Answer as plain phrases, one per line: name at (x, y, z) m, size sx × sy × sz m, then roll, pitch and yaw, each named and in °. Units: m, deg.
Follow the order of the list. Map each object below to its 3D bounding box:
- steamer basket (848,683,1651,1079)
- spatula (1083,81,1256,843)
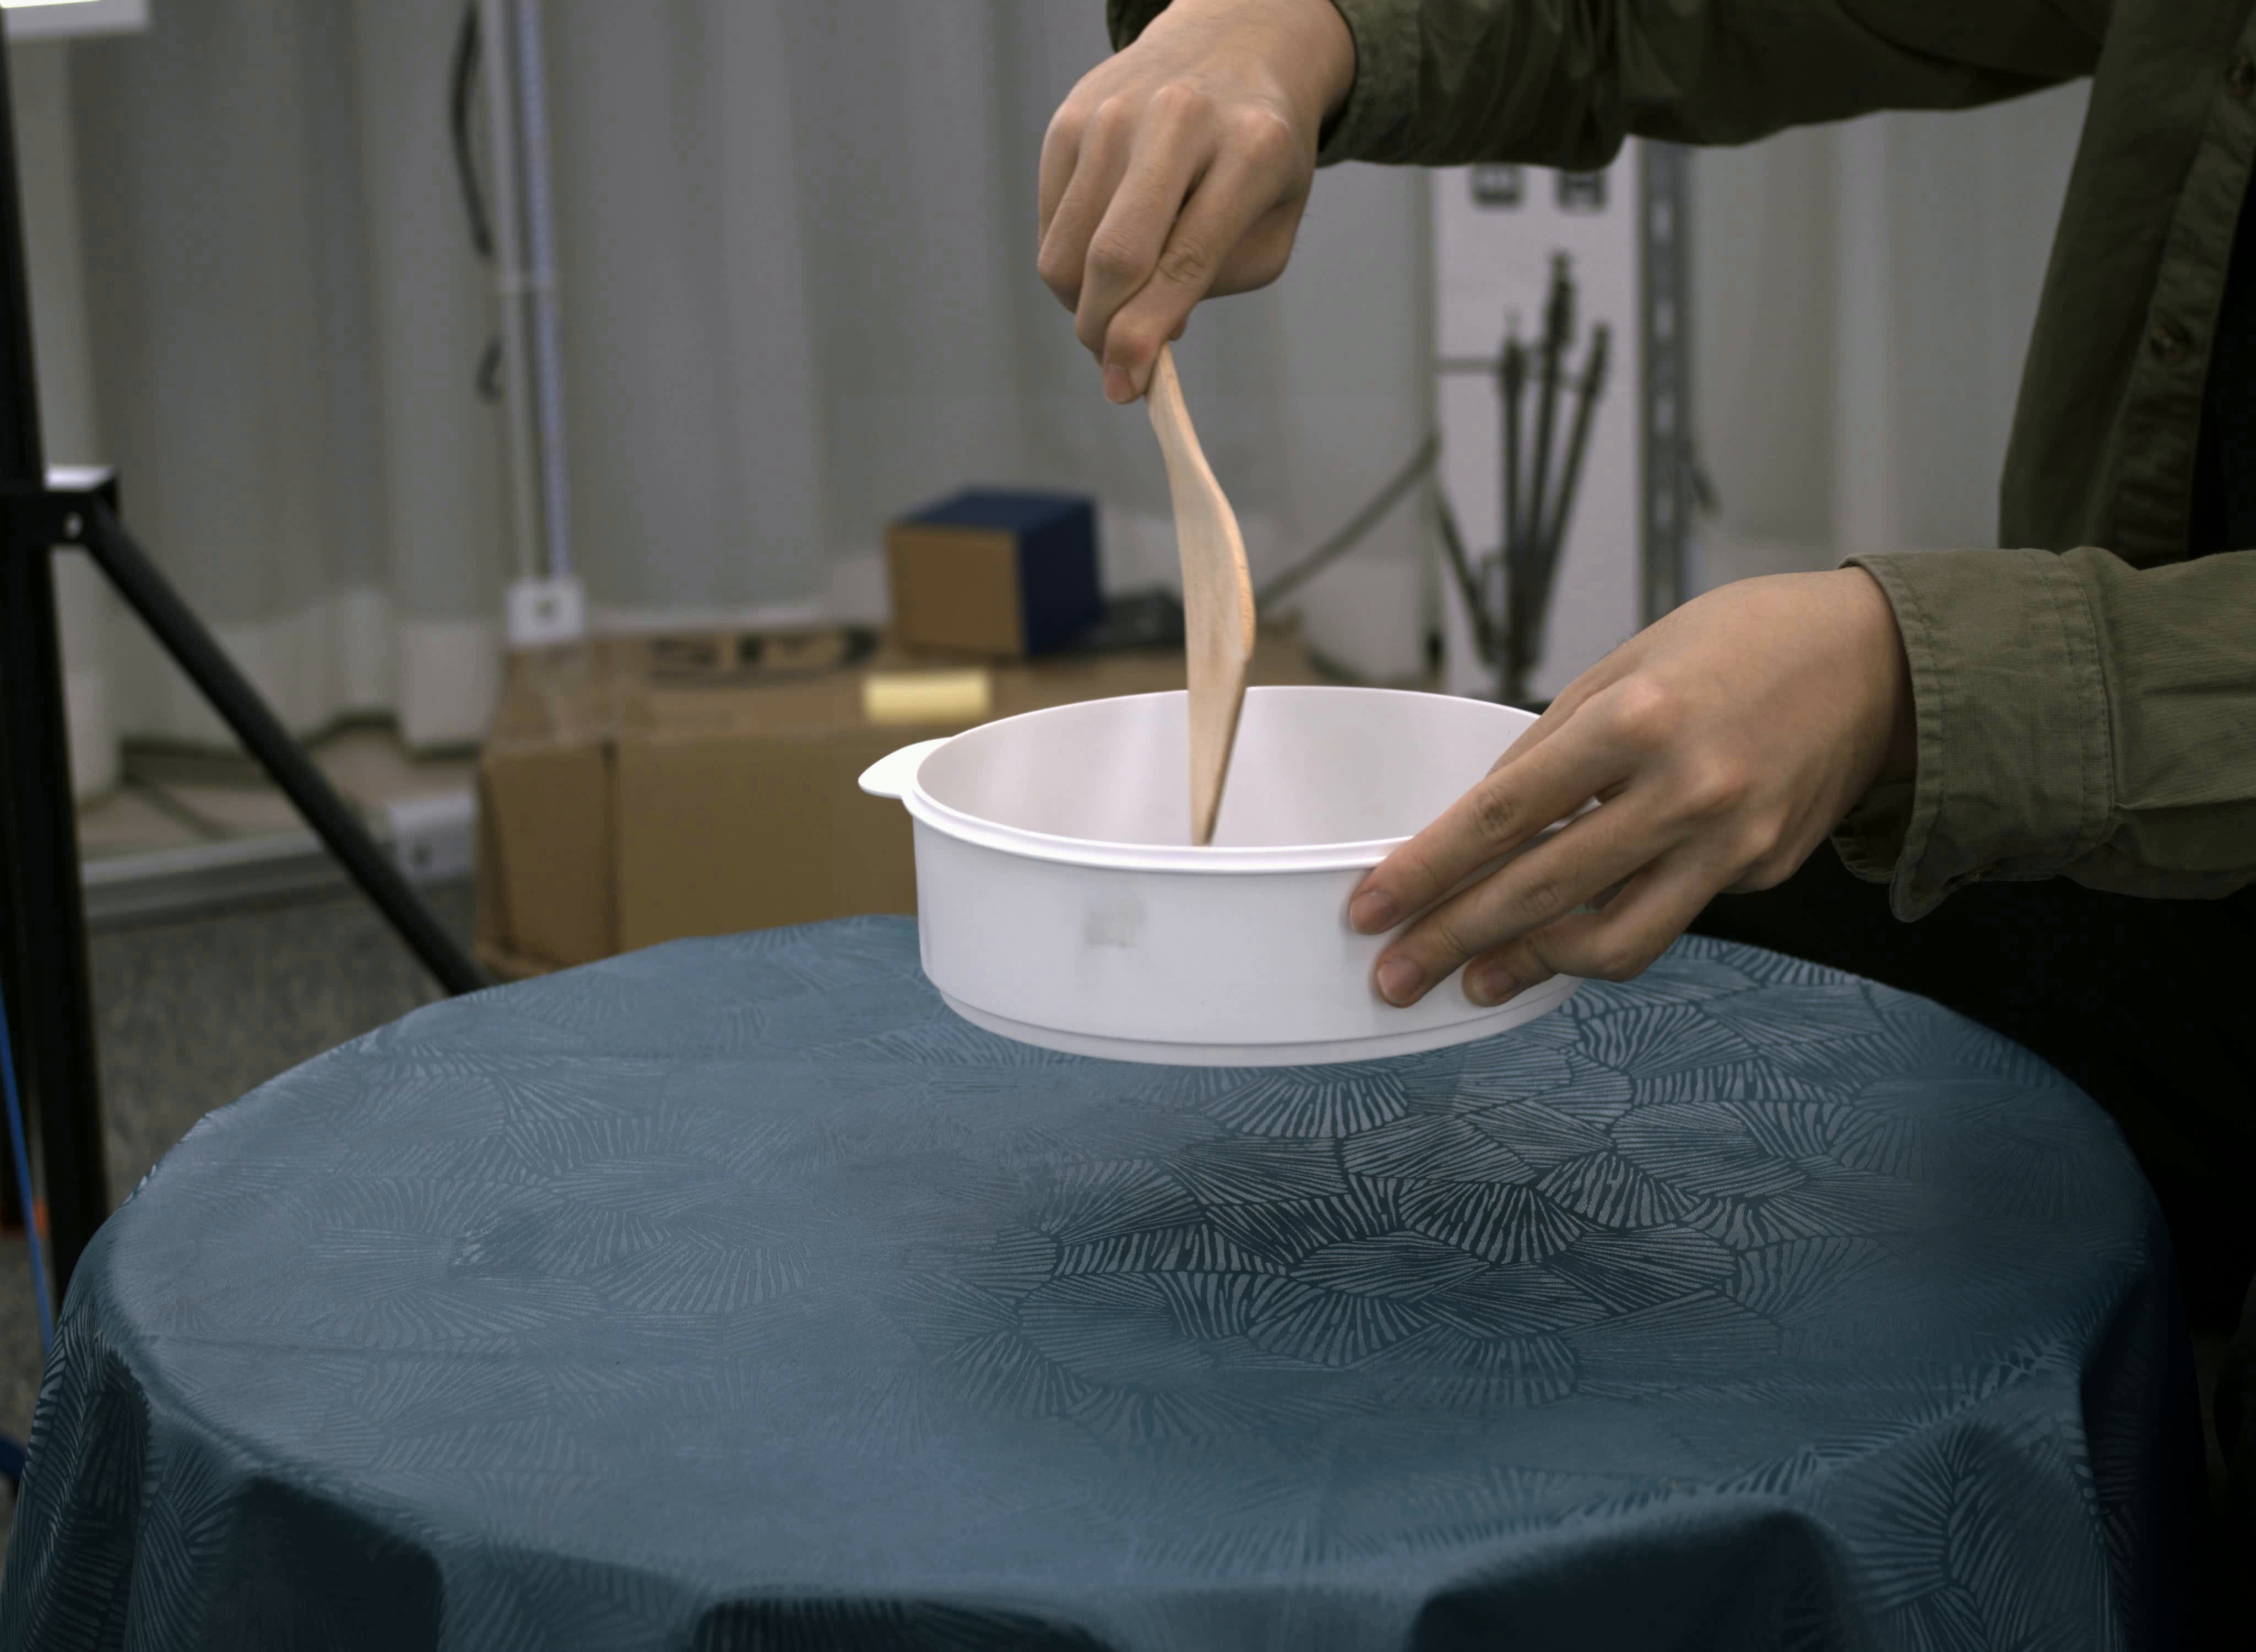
steamer basket at (0.033, 0.016, 1.513) m, size 0.233 × 0.069 × 0.199 m, roll 5°, pitch 16°, yaw 19°
spatula at (0.009, -0.124, 1.588) m, size 0.016 × 0.080 × 0.332 m, roll 3°, pitch 41°, yaw -13°
